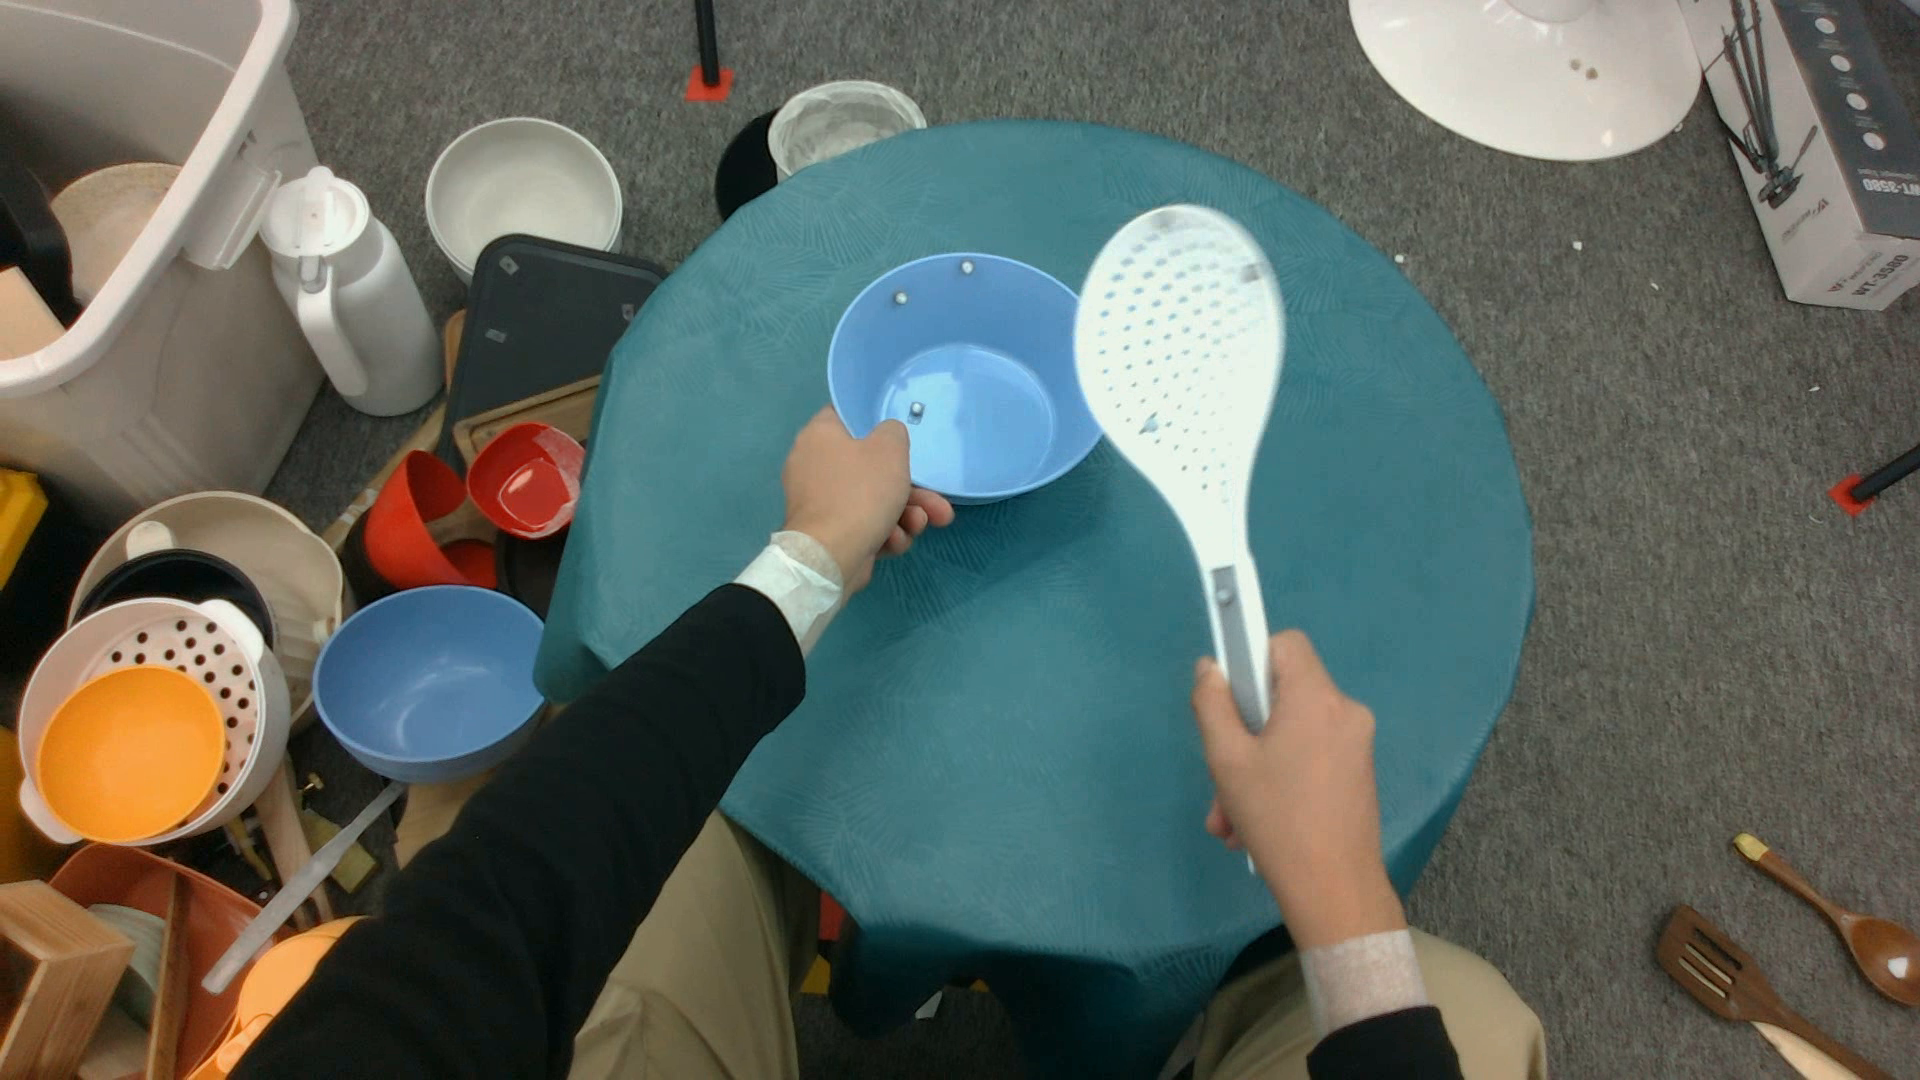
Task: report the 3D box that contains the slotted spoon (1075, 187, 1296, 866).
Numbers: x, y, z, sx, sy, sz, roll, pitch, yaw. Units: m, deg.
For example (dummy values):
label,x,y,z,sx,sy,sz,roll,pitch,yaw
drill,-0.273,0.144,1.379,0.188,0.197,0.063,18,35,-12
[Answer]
label,x,y,z,sx,sy,sz,roll,pitch,yaw
slotted spoon,0.132,-0.010,0.712,0.046,0.135,0.350,7,75,-47

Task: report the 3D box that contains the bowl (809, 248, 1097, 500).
label,x,y,z,sx,sy,sz,roll,pitch,yaw
bowl,-0.006,-0.092,0.857,0.176,0.070,0.176,2,64,-5
